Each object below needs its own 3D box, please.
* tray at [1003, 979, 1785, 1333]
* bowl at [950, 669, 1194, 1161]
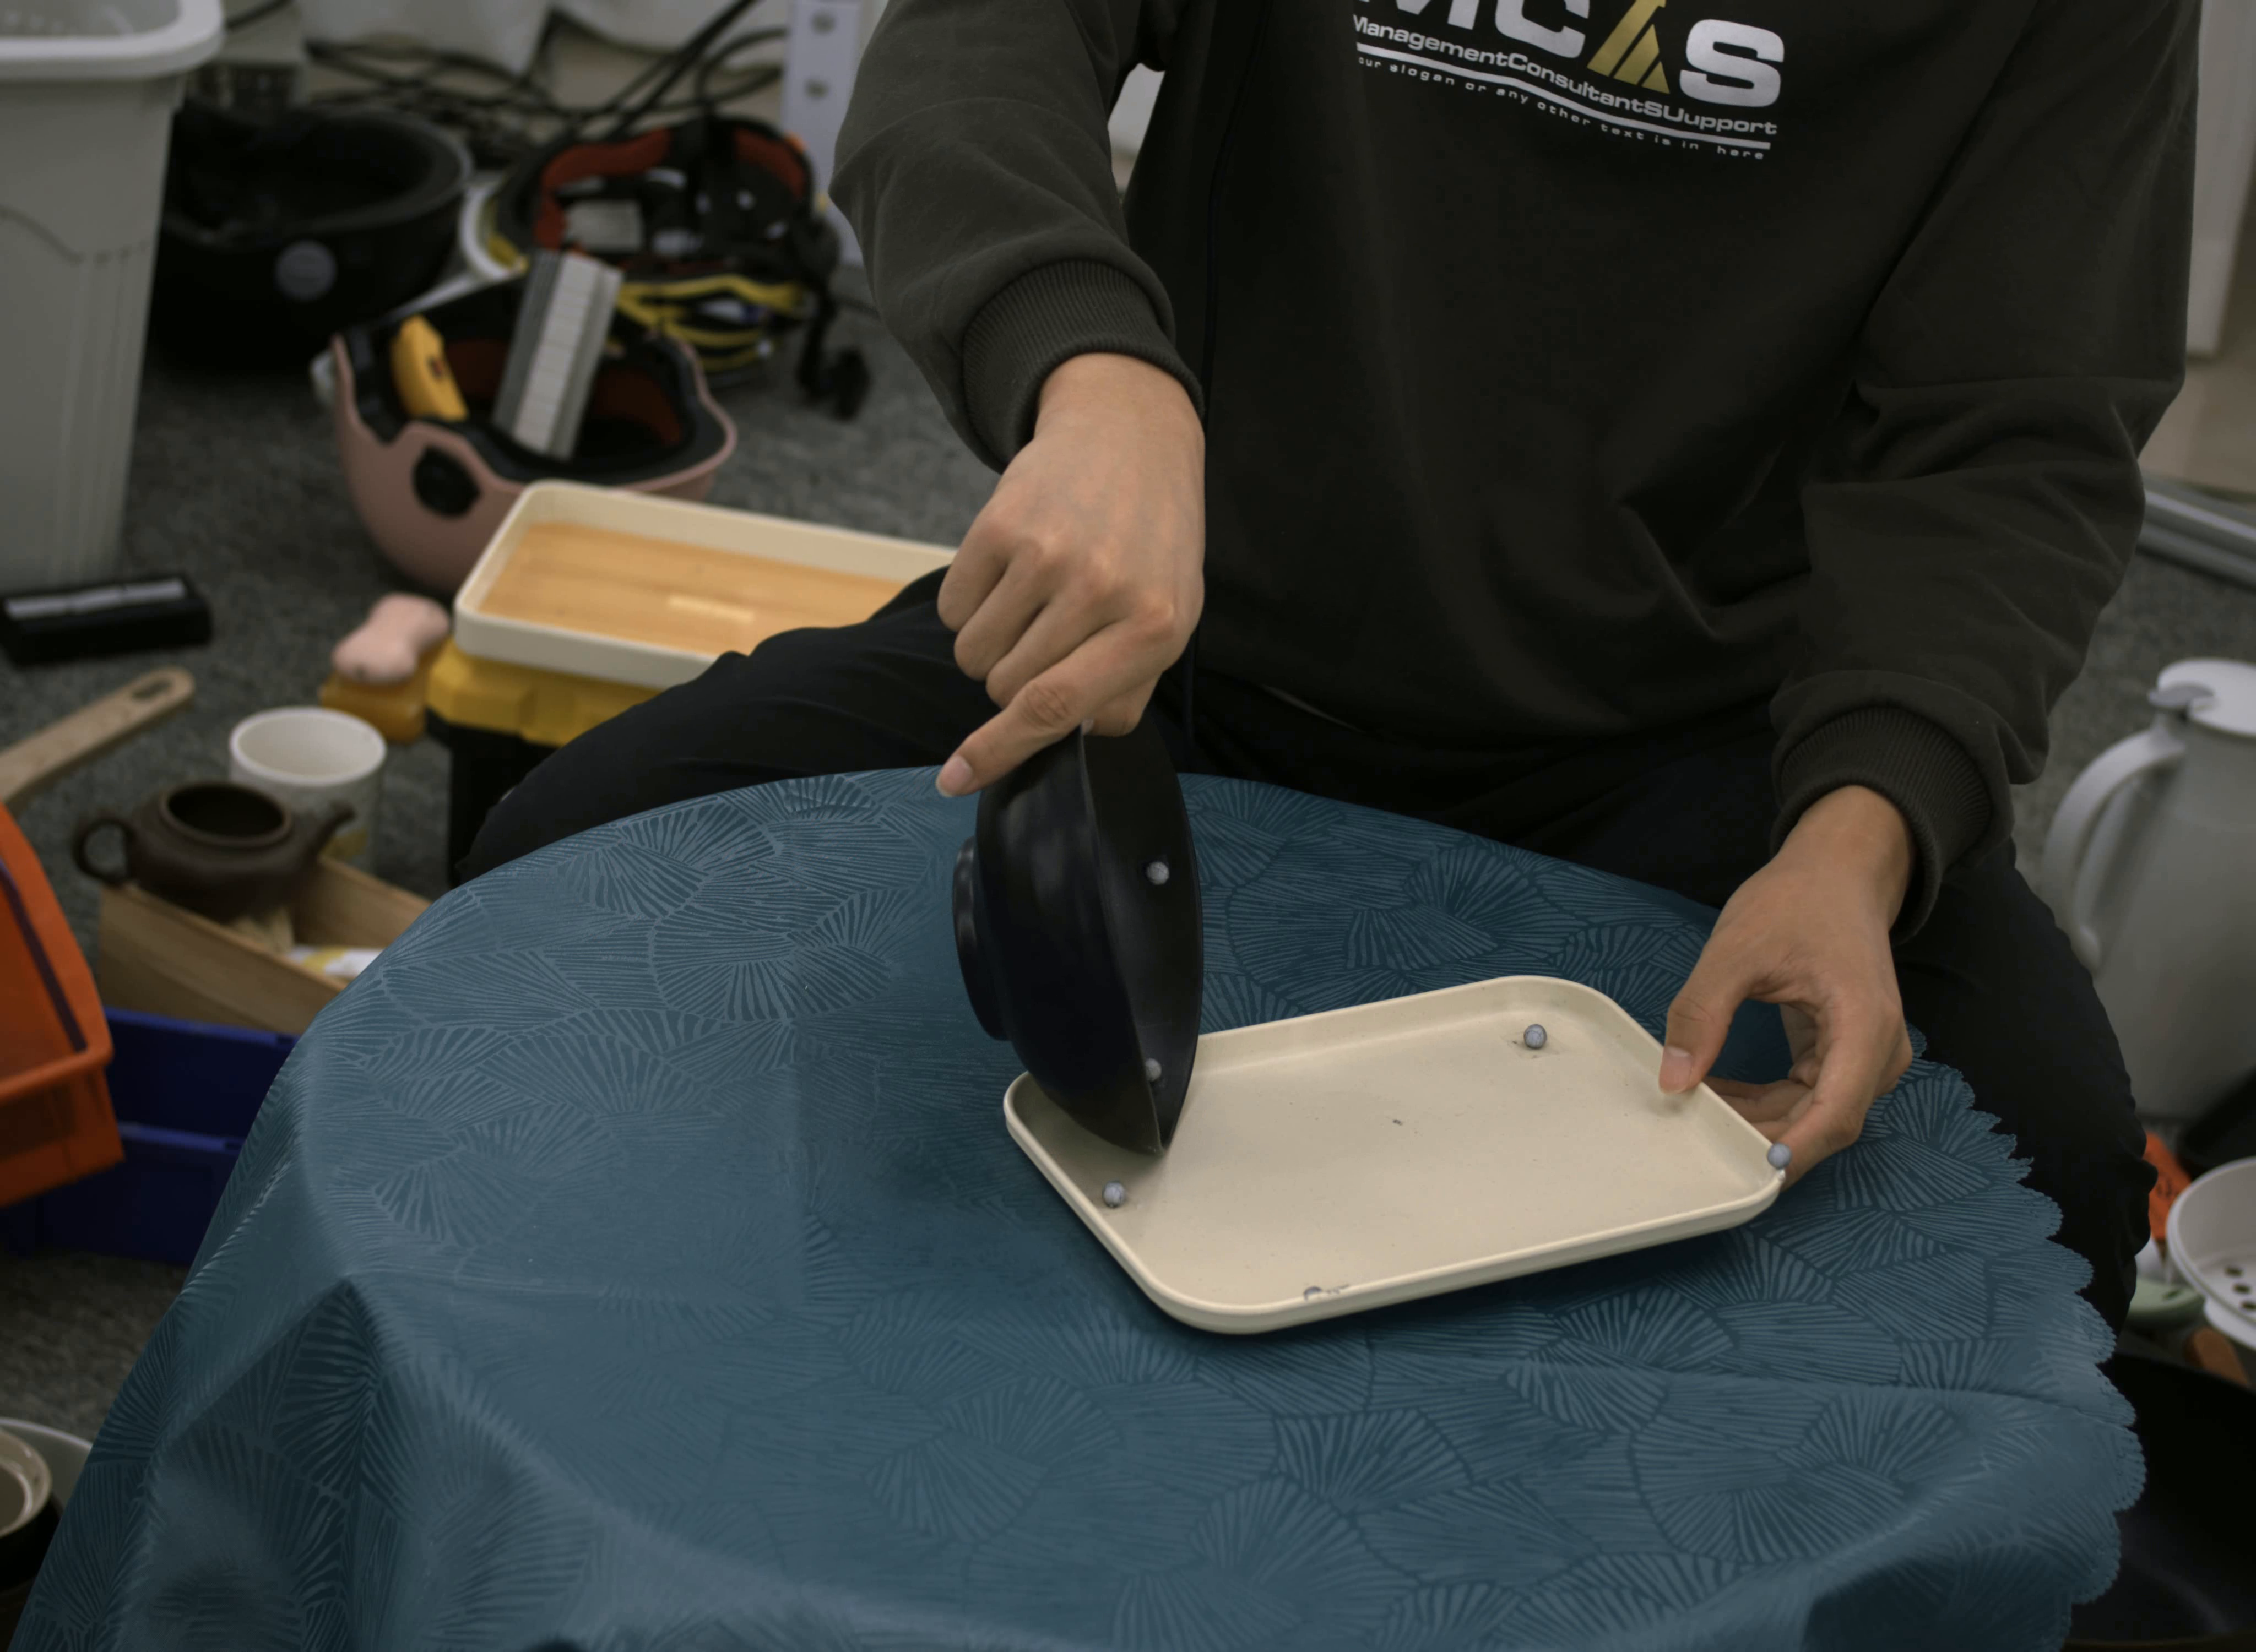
[{"bbox_3d":[0.090,0.112,1.818,0.238,0.017,0.173,-10,29,-23],"label":"tray"},{"bbox_3d":[-0.021,0.032,1.806,0.067,0.170,0.137,-7,20,14],"label":"bowl"}]
